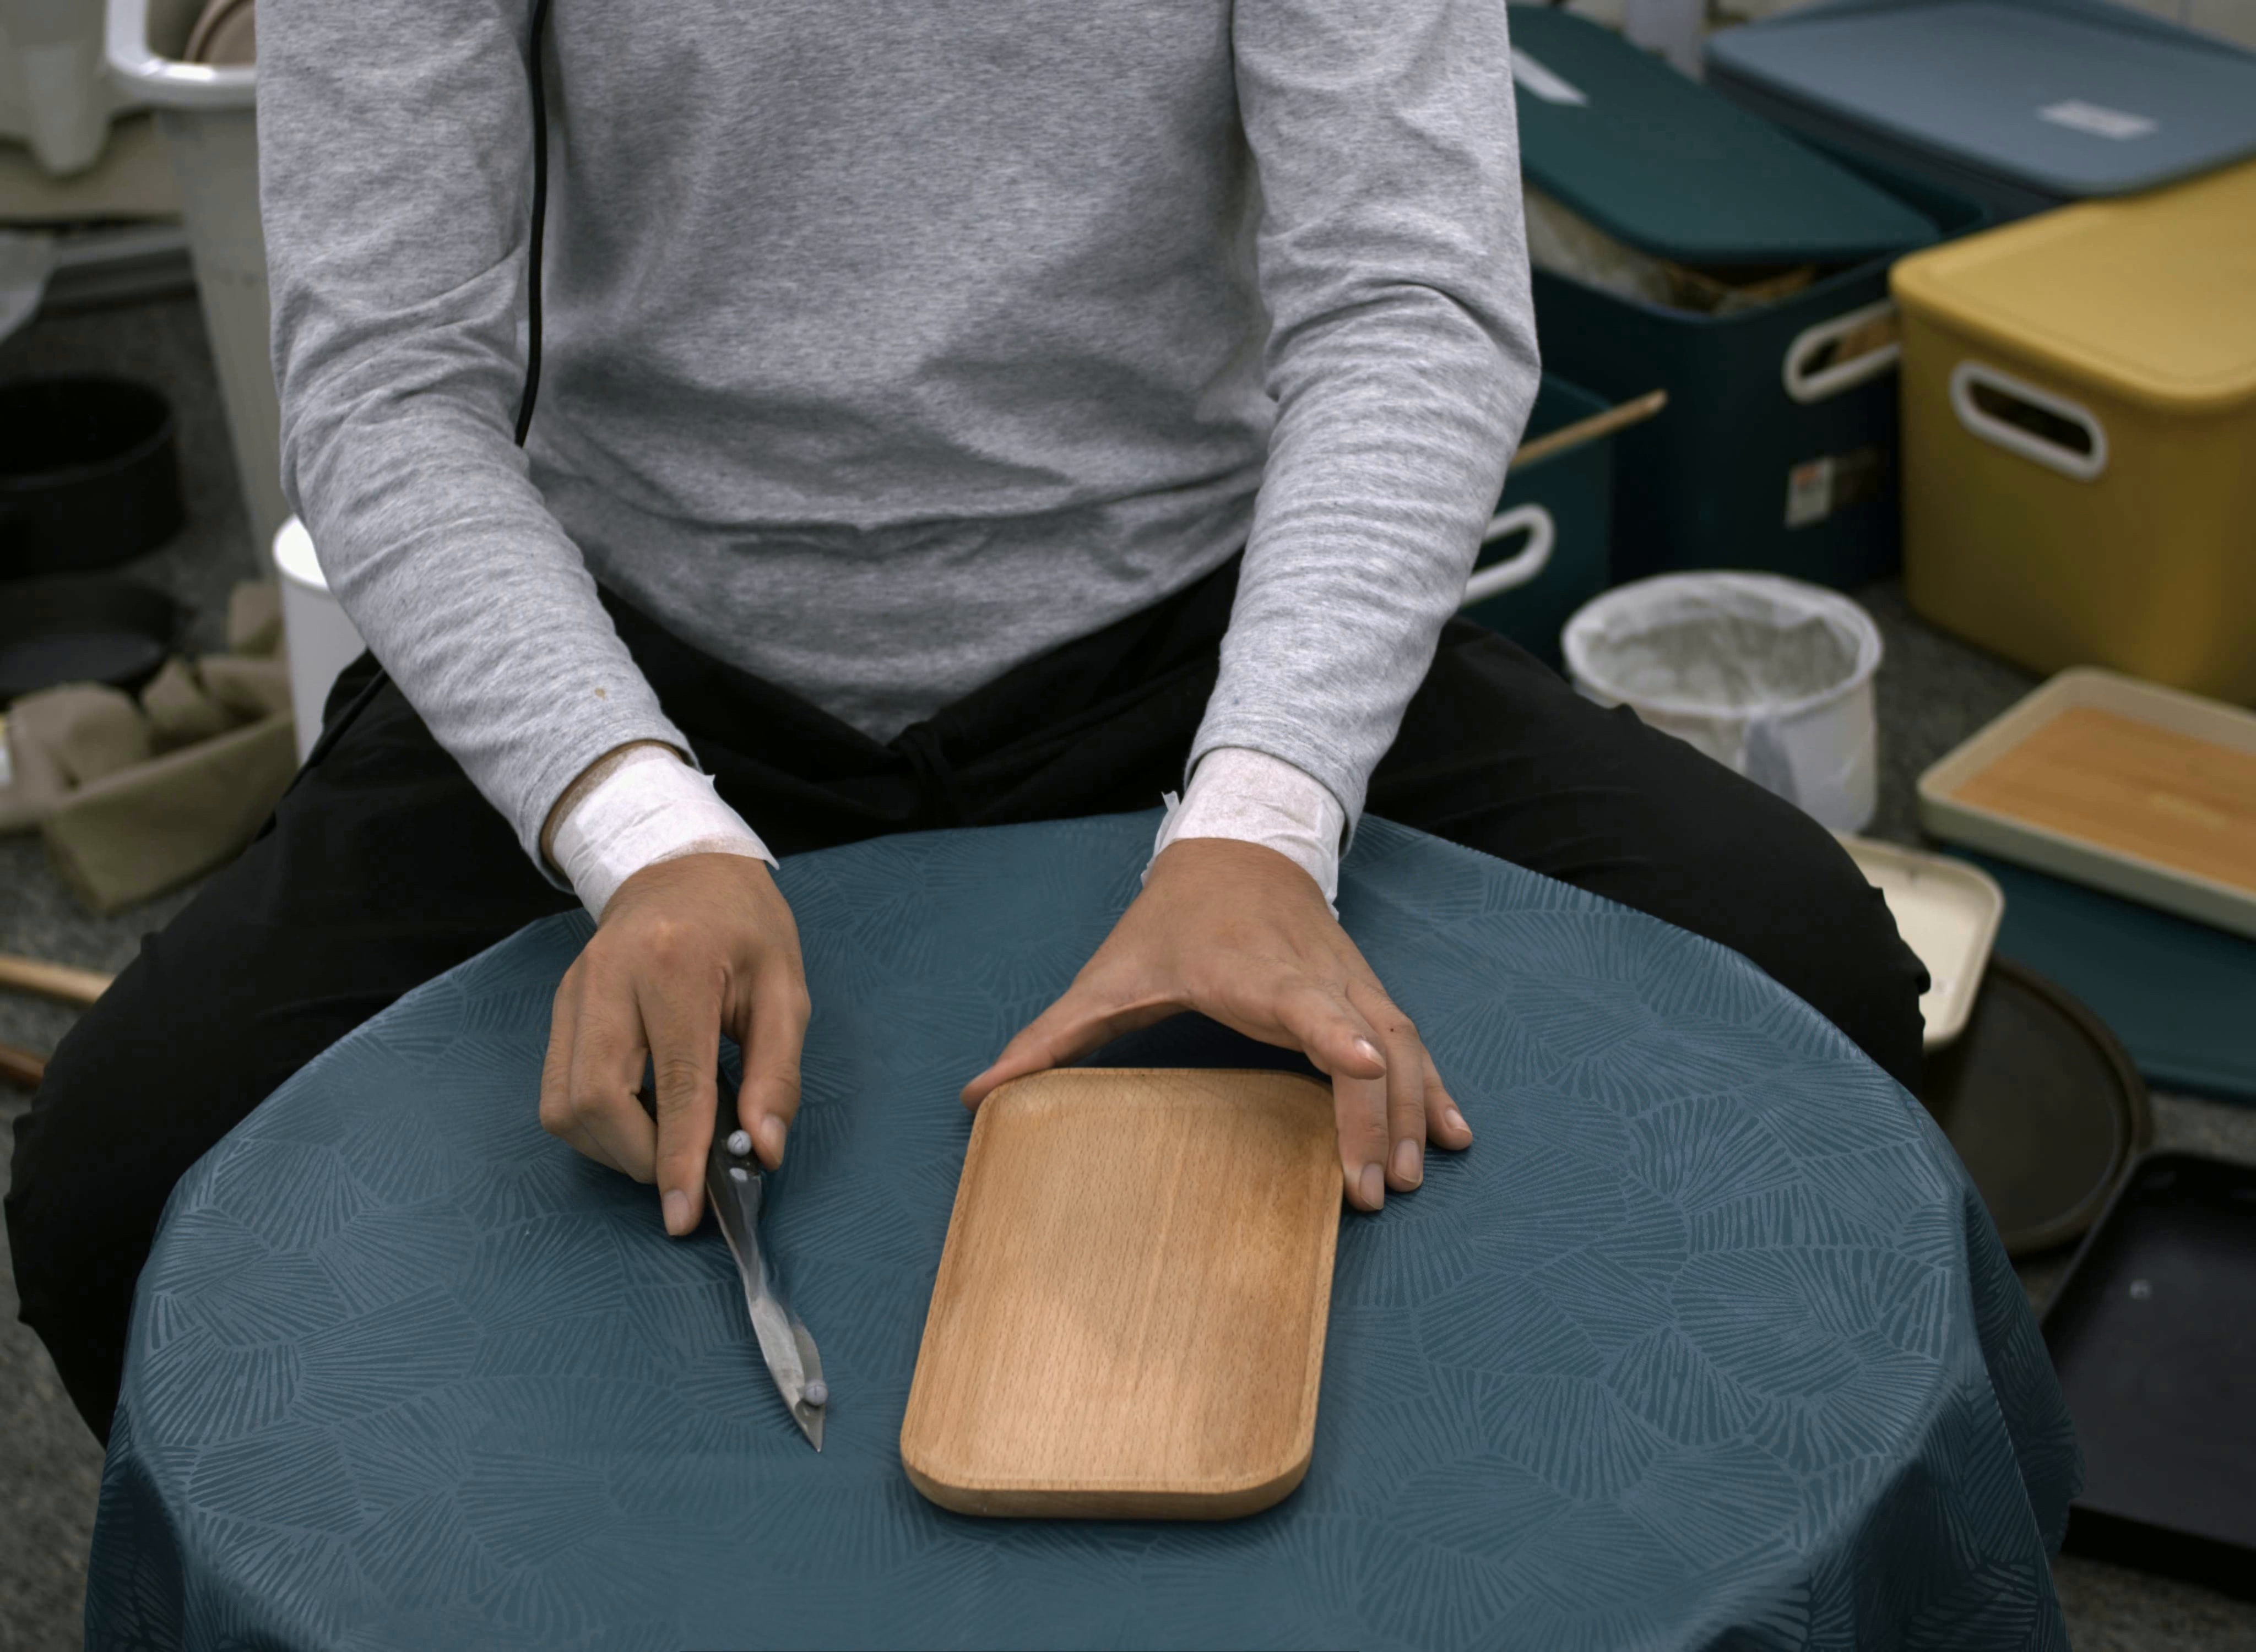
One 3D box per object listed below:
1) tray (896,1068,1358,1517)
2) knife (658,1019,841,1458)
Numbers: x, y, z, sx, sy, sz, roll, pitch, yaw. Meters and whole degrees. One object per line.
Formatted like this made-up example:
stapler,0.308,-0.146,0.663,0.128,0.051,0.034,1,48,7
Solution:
tray,0.003,0.146,1.796,0.130,0.022,0.255,3,27,6
knife,-0.124,0.132,1.828,0.024,0.016,0.241,8,28,-22
